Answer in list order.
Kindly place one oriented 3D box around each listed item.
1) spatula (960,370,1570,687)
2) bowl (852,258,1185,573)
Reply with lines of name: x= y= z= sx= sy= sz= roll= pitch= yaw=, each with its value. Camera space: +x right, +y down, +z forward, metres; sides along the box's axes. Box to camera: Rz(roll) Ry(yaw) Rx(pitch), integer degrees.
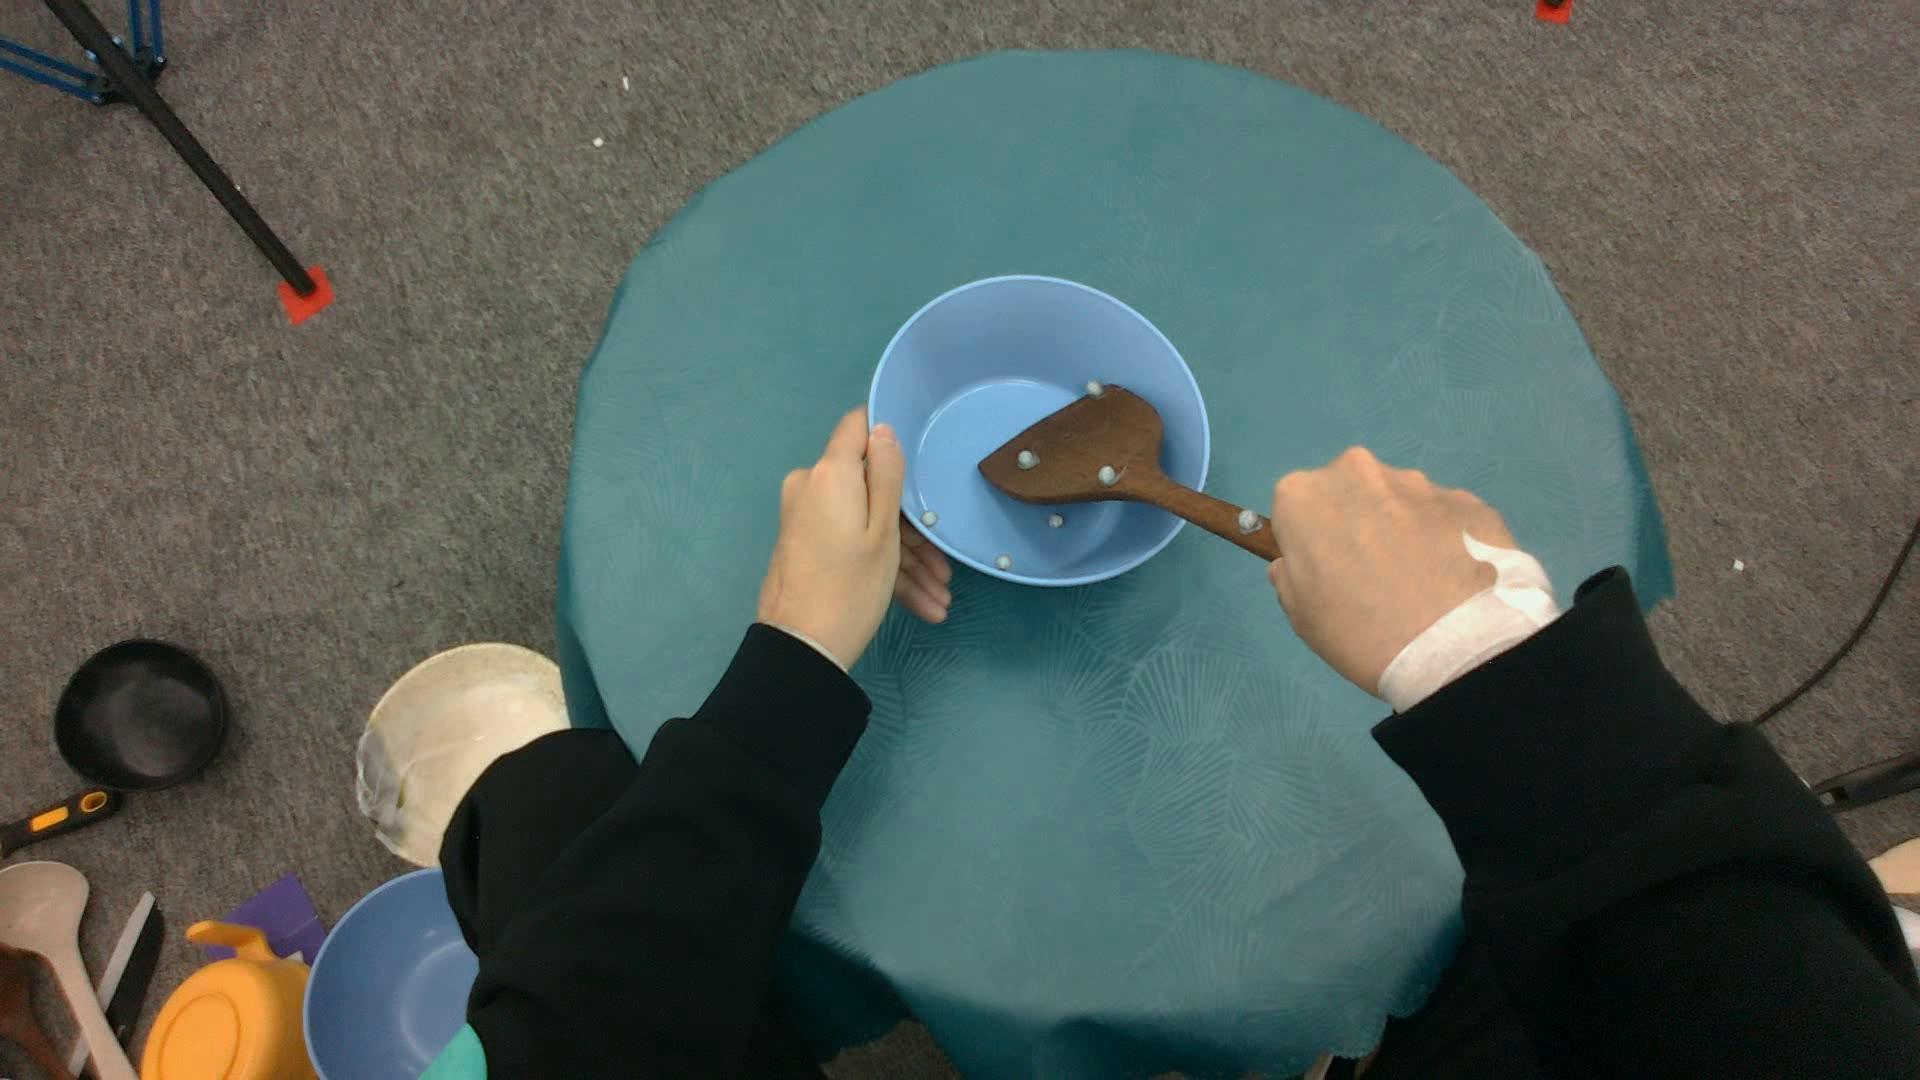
spatula: x=0.109 y=-0.016 z=0.595 sx=0.096 sy=0.016 sz=0.386 roll=-32 pitch=26 yaw=-12
bowl: x=0.025 y=-0.056 z=0.729 sx=0.176 sy=0.070 sz=0.176 roll=5 pitch=69 yaw=-12
